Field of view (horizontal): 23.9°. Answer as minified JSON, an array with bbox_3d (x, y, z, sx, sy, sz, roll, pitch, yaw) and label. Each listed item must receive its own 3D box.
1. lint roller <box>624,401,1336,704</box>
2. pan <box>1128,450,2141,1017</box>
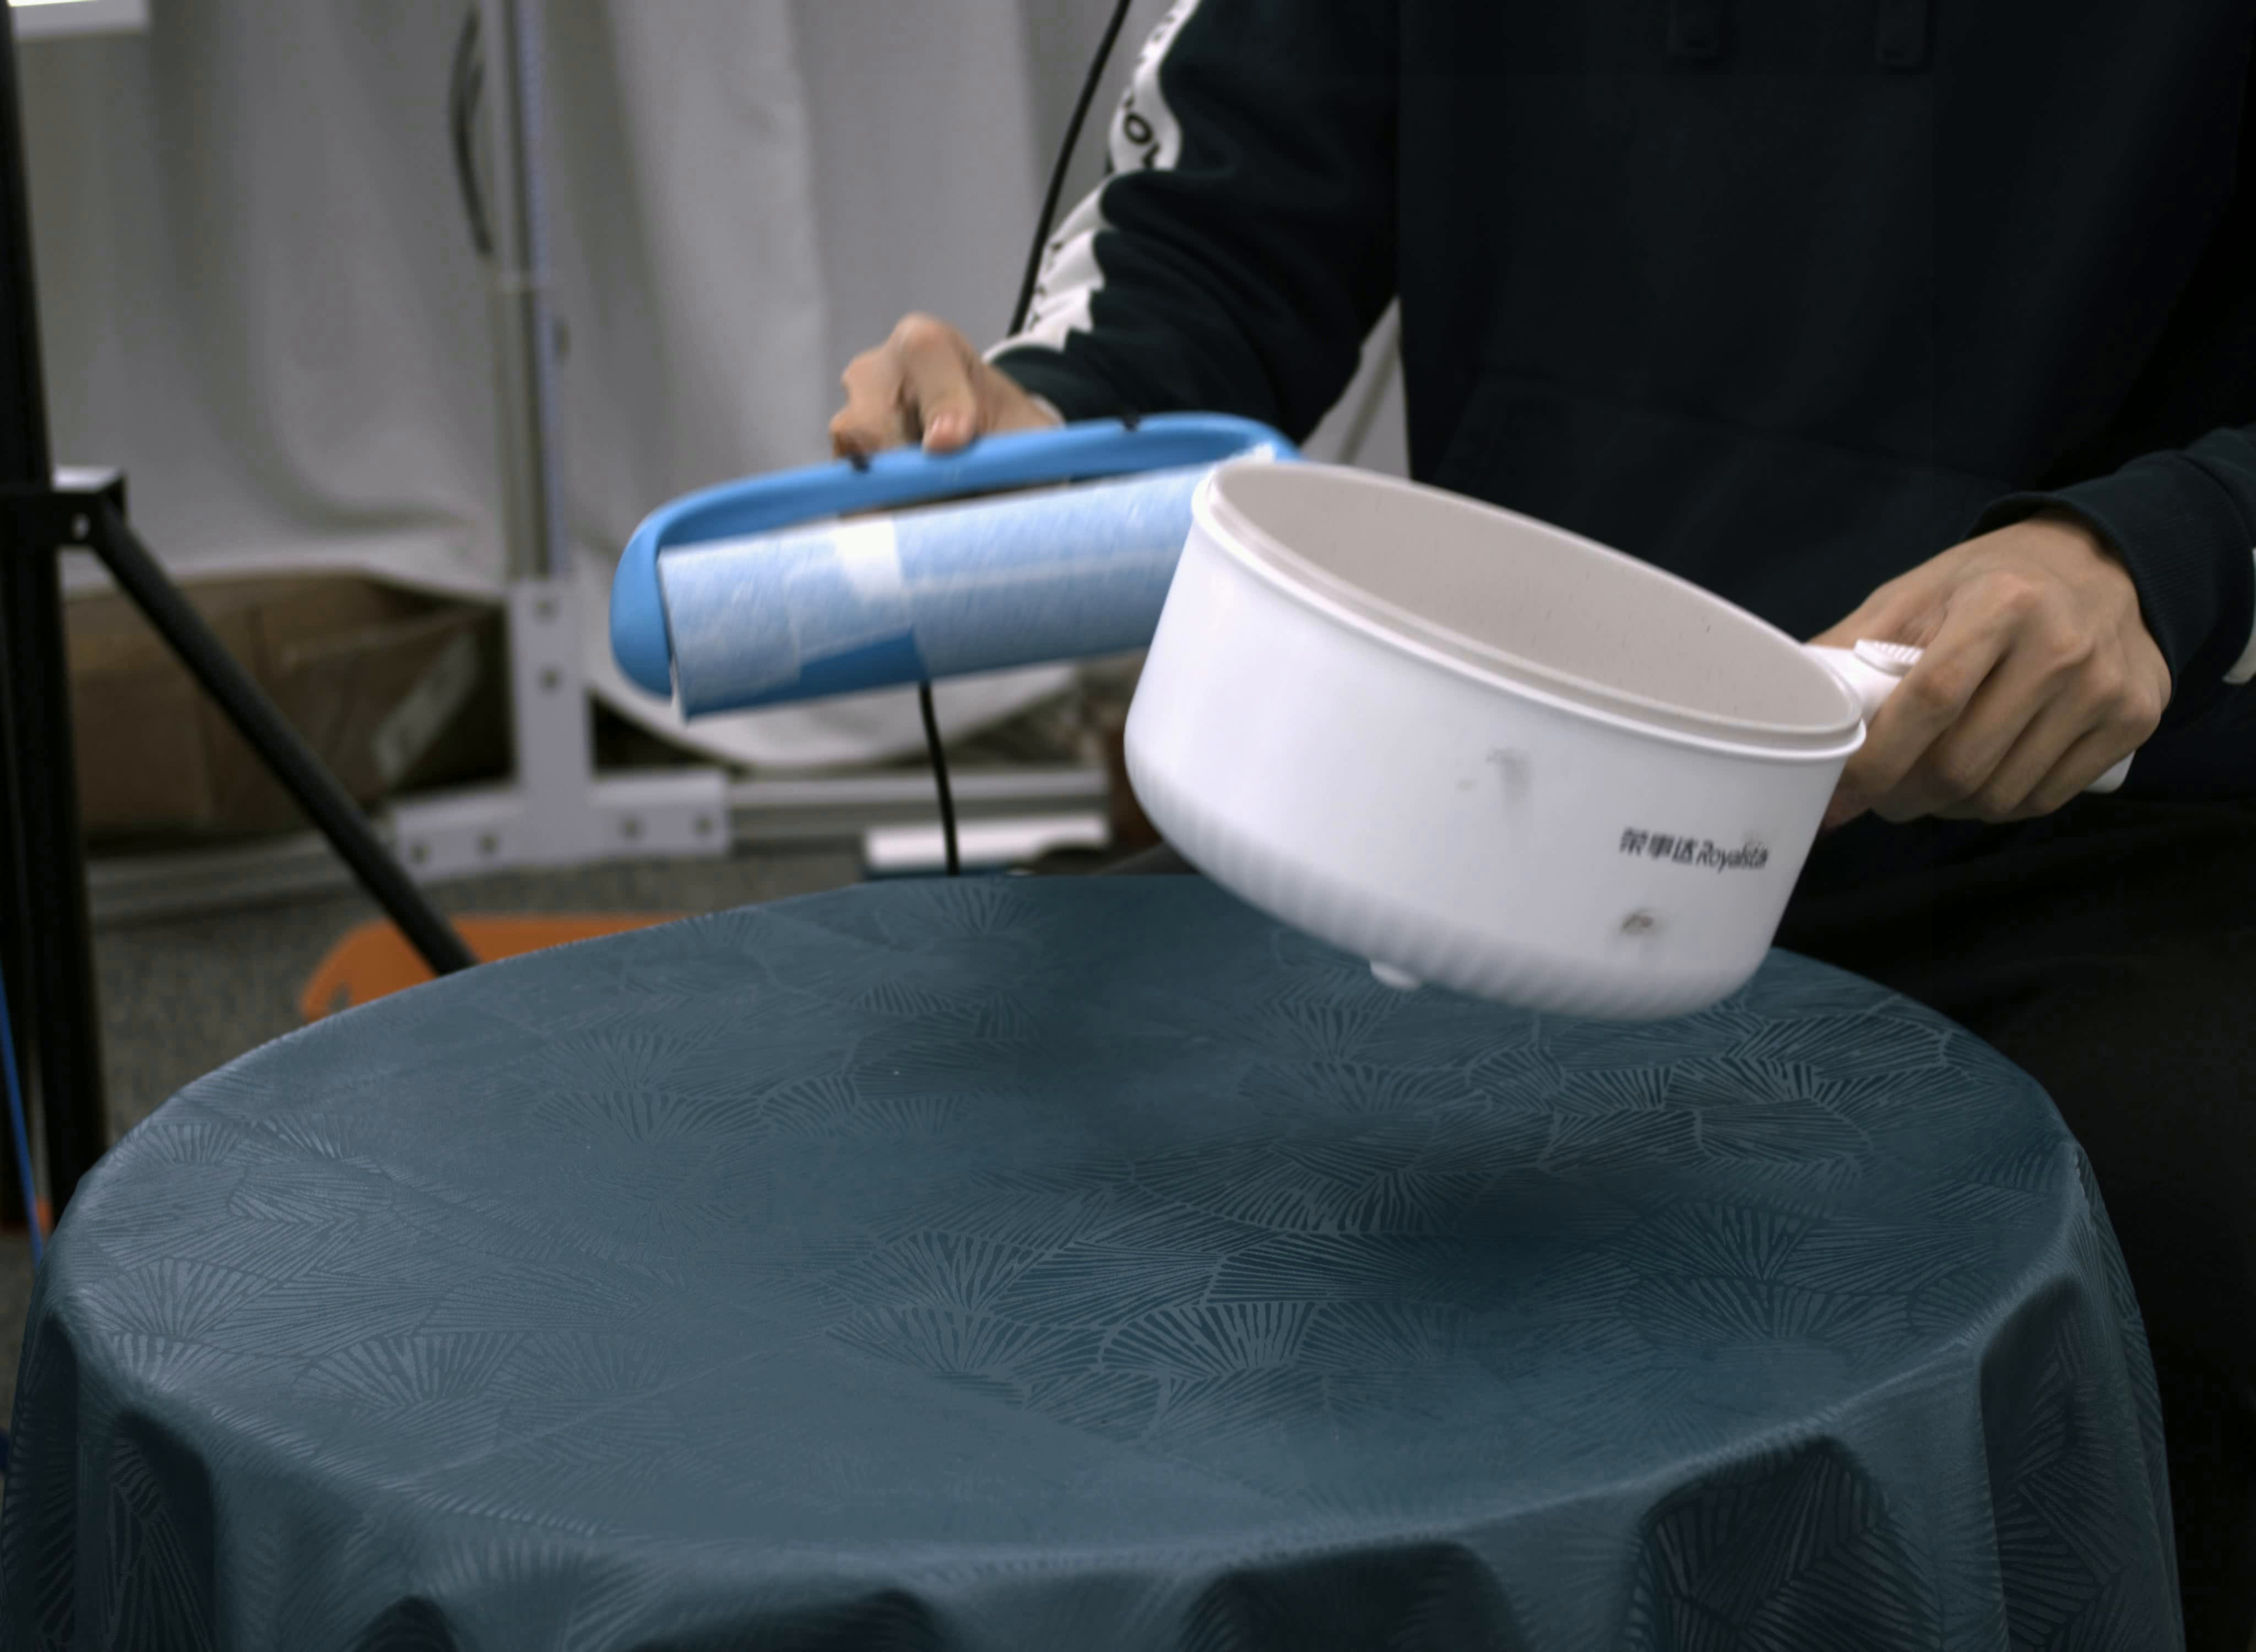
[{"bbox_3d":[-0.055,-0.097,1.708,0.227,0.068,0.182,-11,18,-7],"label":"lint roller"},{"bbox_3d":[0.157,-0.014,1.547,0.345,0.102,0.206,8,18,-39],"label":"pan"}]
